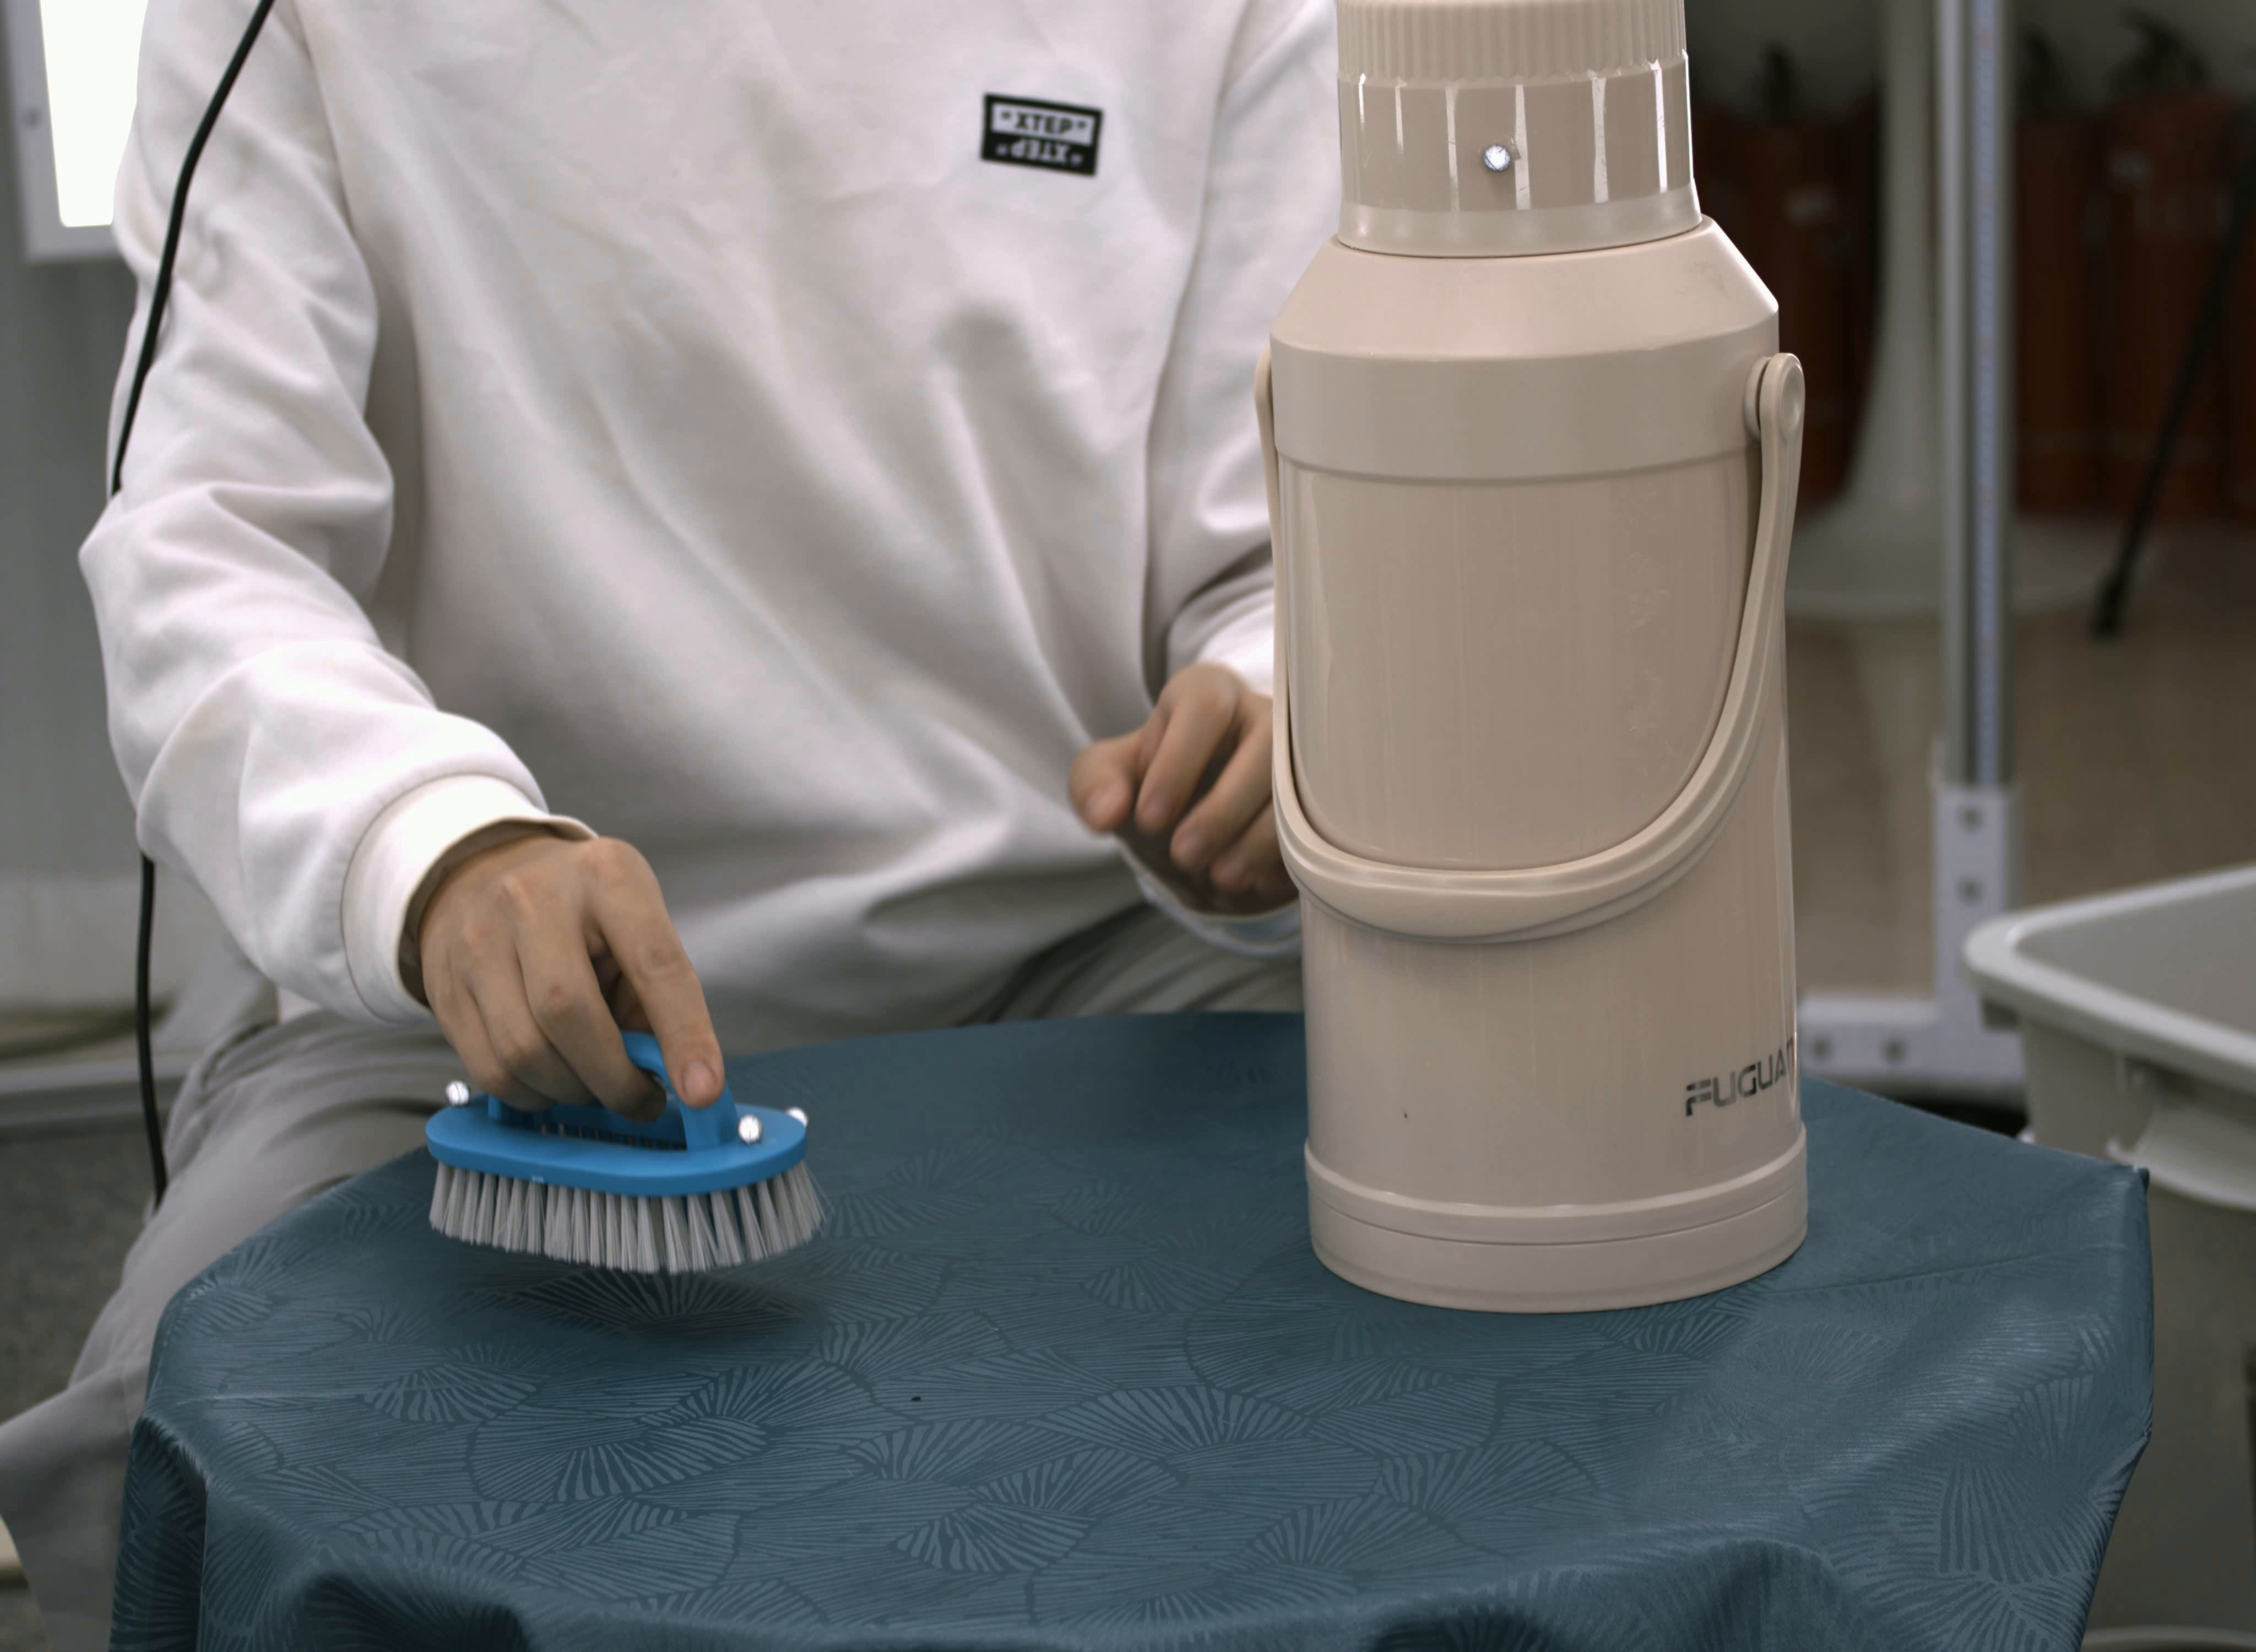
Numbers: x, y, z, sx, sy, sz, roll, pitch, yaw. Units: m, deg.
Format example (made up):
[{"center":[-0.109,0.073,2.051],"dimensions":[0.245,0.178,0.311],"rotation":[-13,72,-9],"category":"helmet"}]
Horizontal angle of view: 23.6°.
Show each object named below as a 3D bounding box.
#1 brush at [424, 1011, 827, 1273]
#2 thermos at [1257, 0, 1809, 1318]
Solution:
[{"center":[-0.161,0.092,1.686],"dimensions":[0.143,0.064,0.083],"rotation":[5,19,39],"category":"brush"},{"center":[0.133,-0.067,1.669],"dimensions":[0.176,0.411,0.204],"rotation":[2,13,28],"category":"thermos"}]
